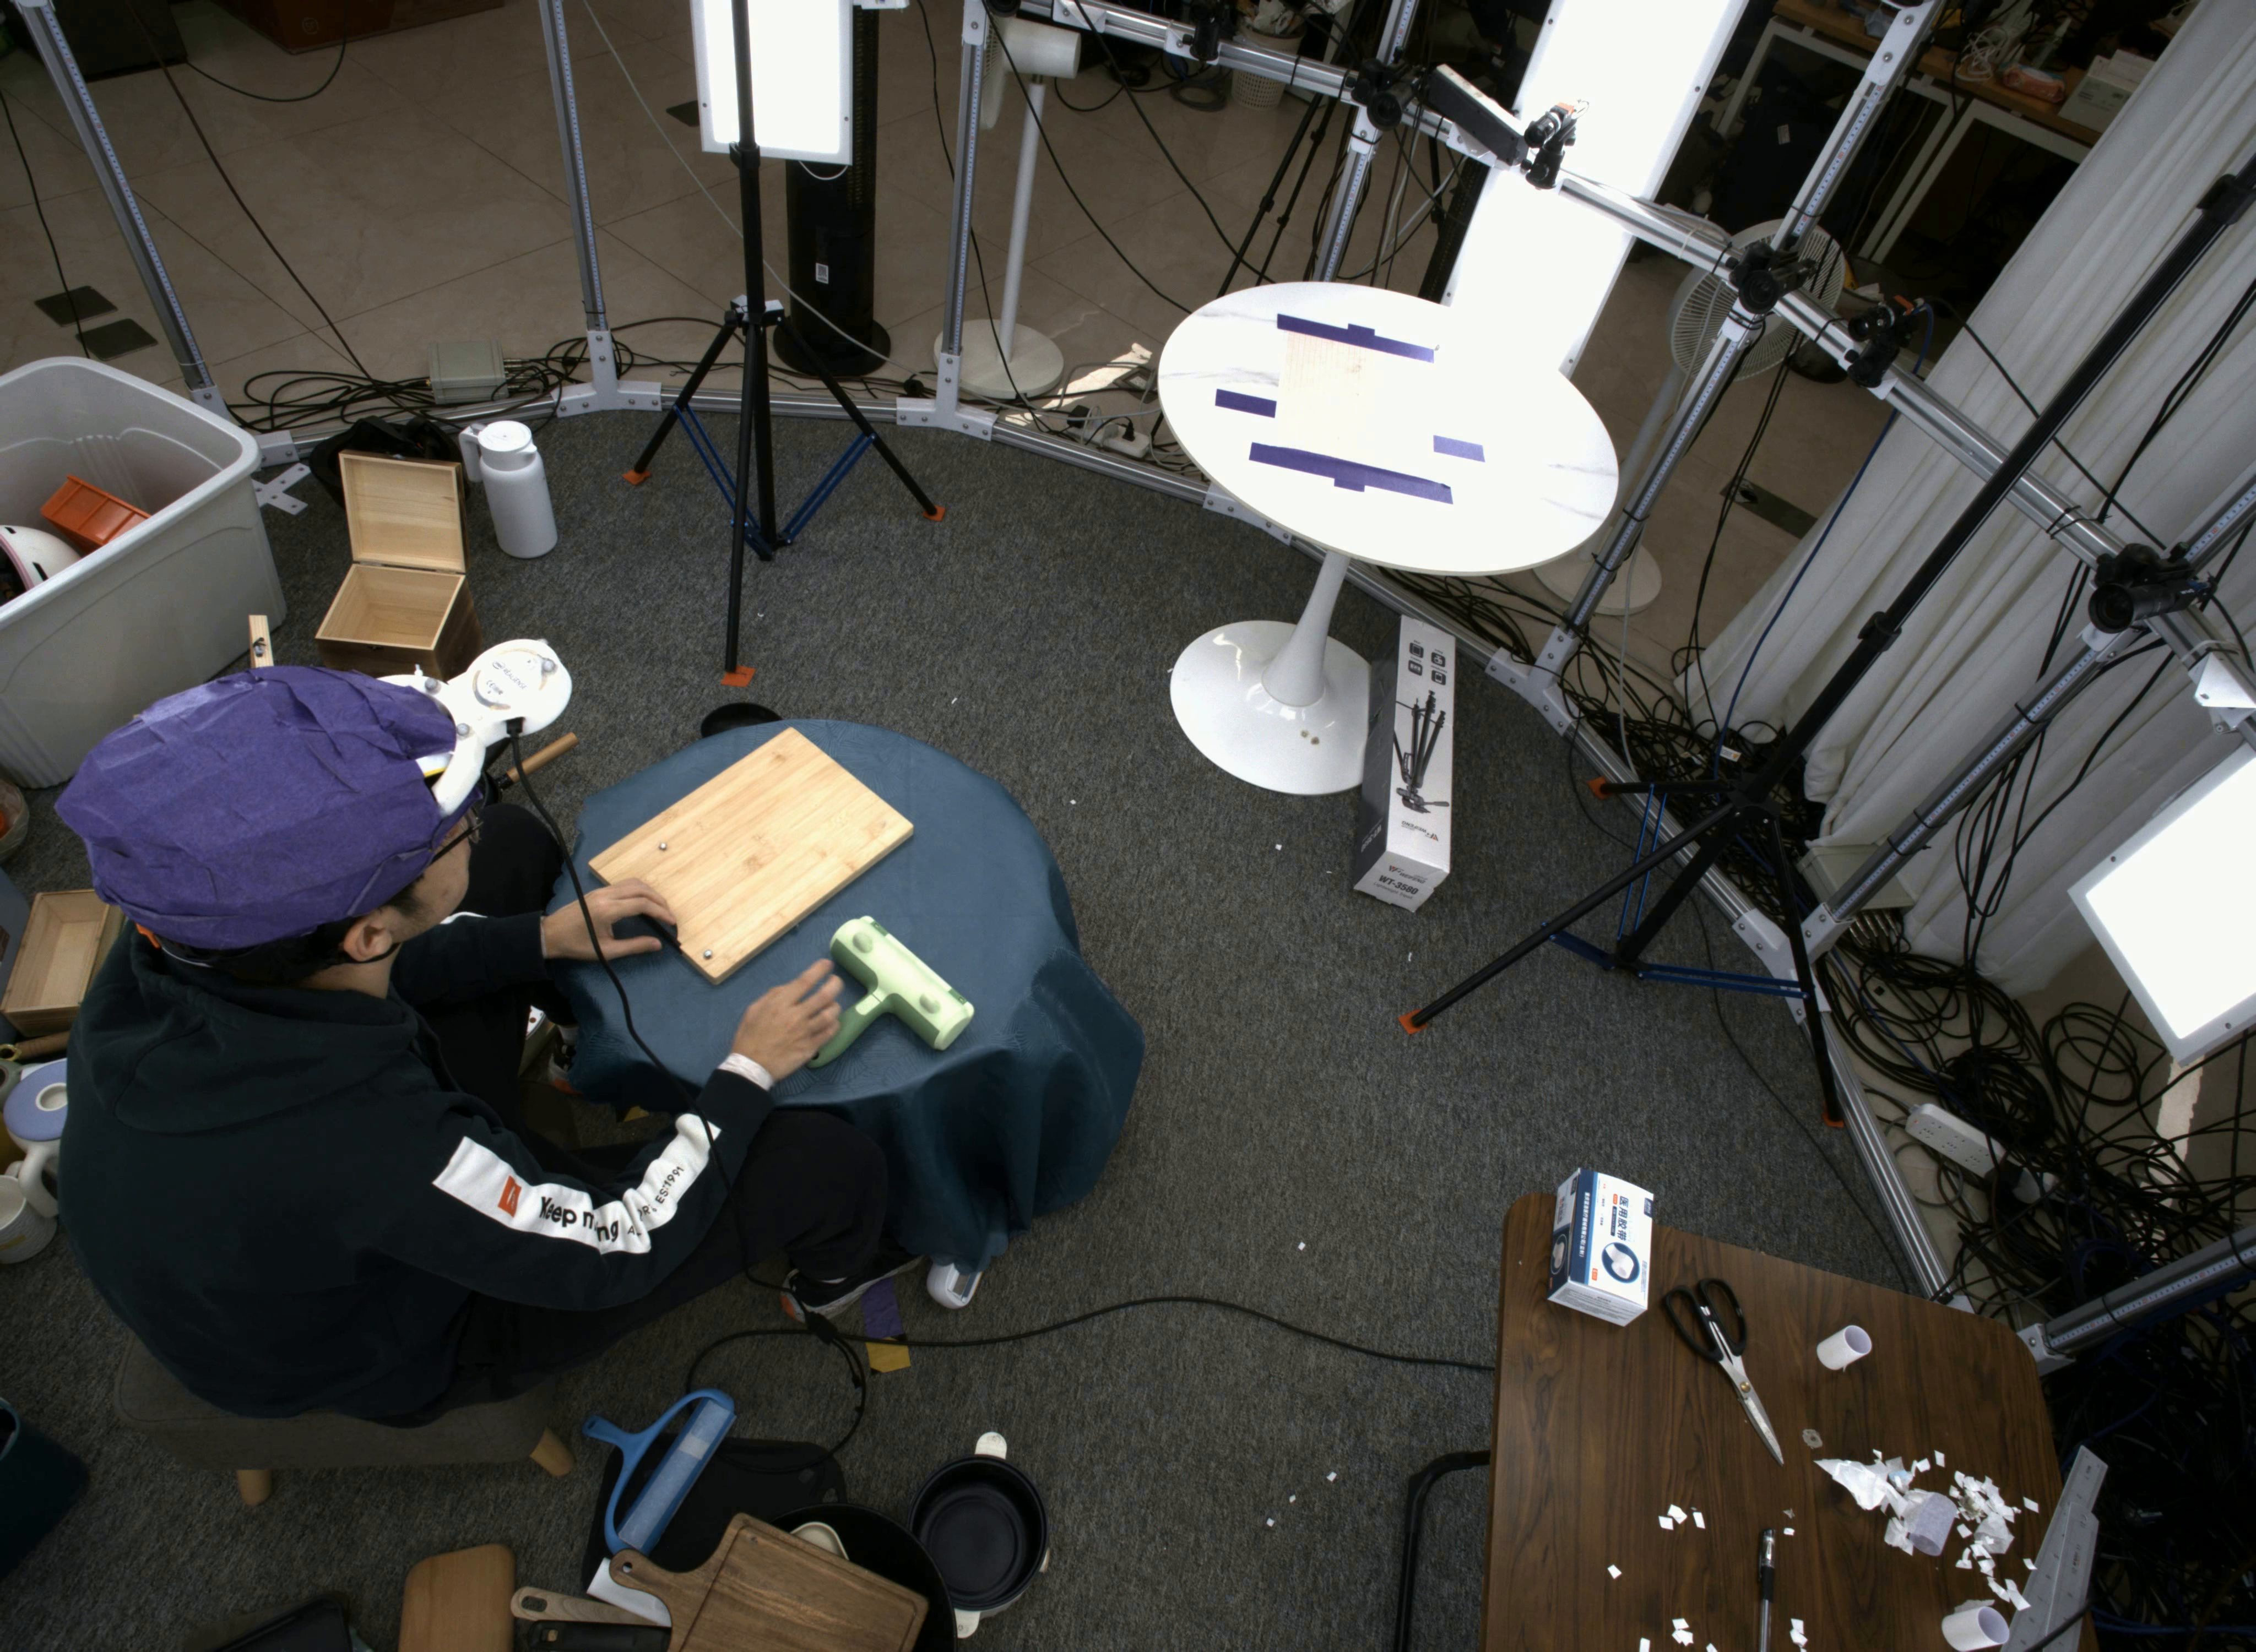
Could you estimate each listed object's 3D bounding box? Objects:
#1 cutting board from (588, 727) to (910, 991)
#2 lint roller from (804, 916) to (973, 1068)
[{"bbox_3d":[-0.488,0.030,1.680,0.246,0.024,0.349,37,54,14],"label":"cutting board"},{"bbox_3d":[-0.314,0.212,1.551,0.194,0.084,0.183,39,51,15],"label":"lint roller"}]
